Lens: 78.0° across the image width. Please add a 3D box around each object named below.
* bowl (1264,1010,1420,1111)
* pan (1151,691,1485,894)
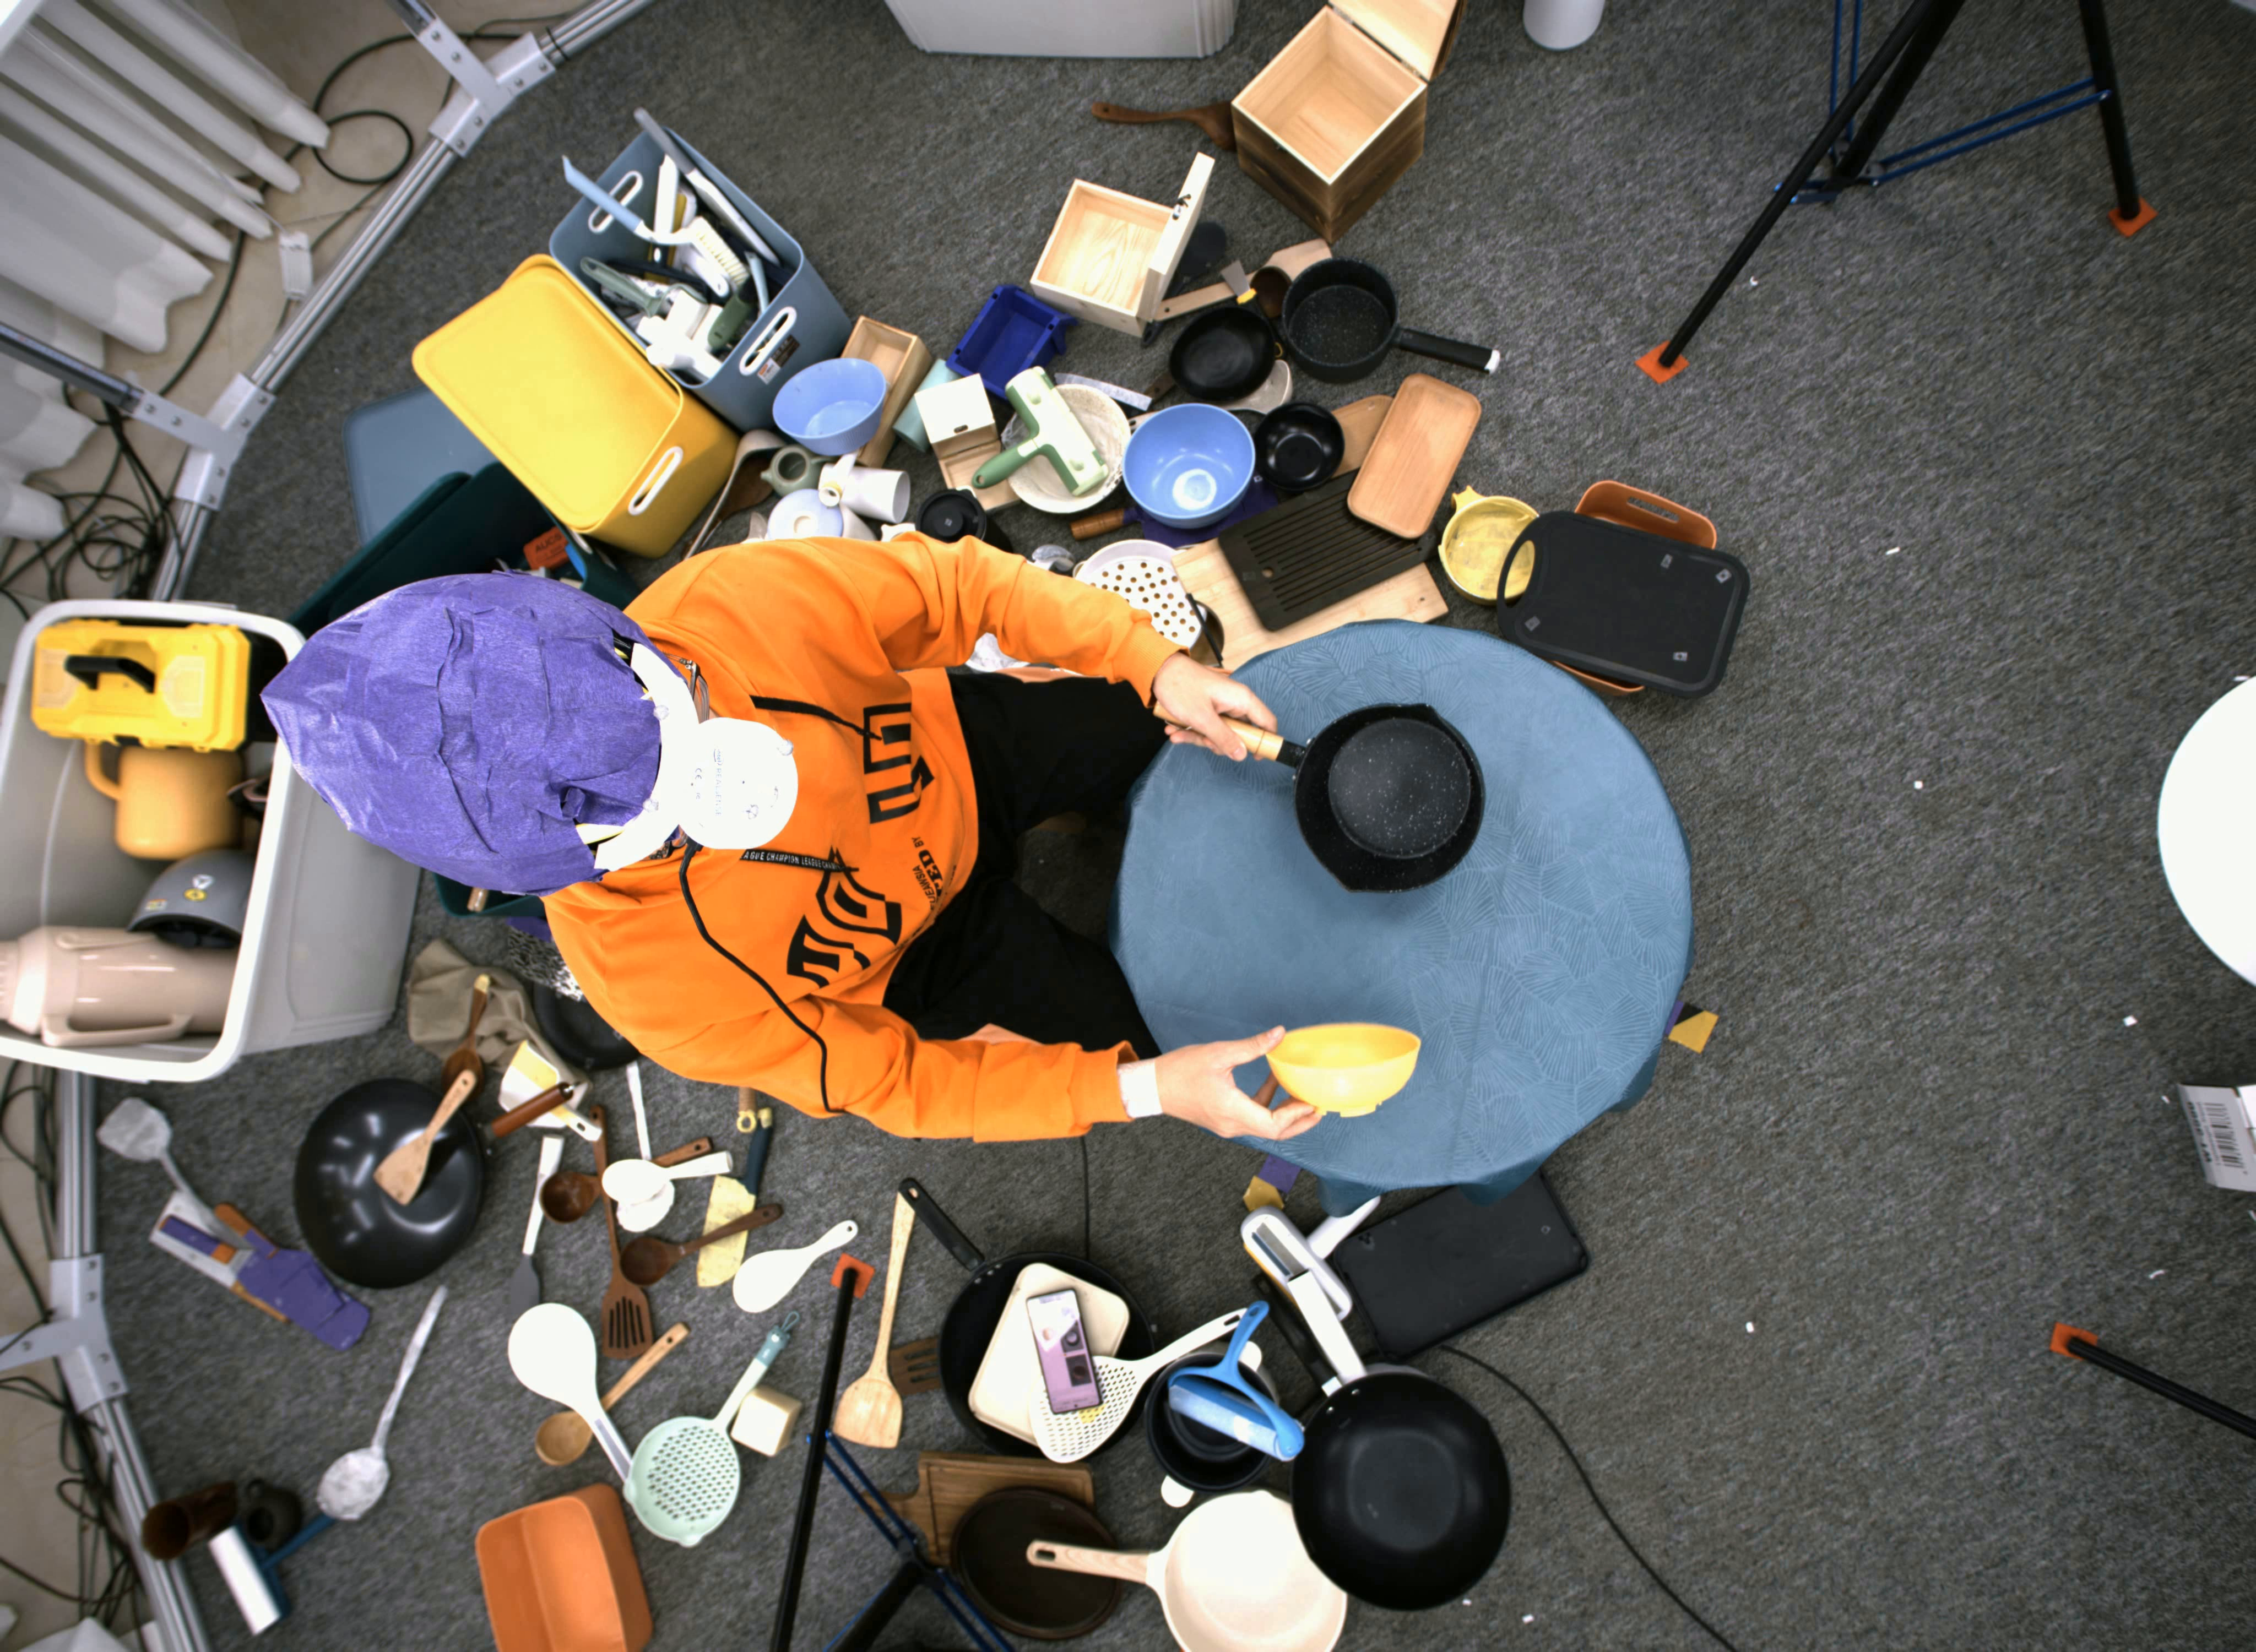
[{"bbox_3d":[0.201,0.224,1.295,0.146,0.143,0.061,-2,106,10],"label":"bowl"},{"bbox_3d":[0.189,-0.062,1.377,0.342,0.106,0.211,23,110,13],"label":"pan"}]
